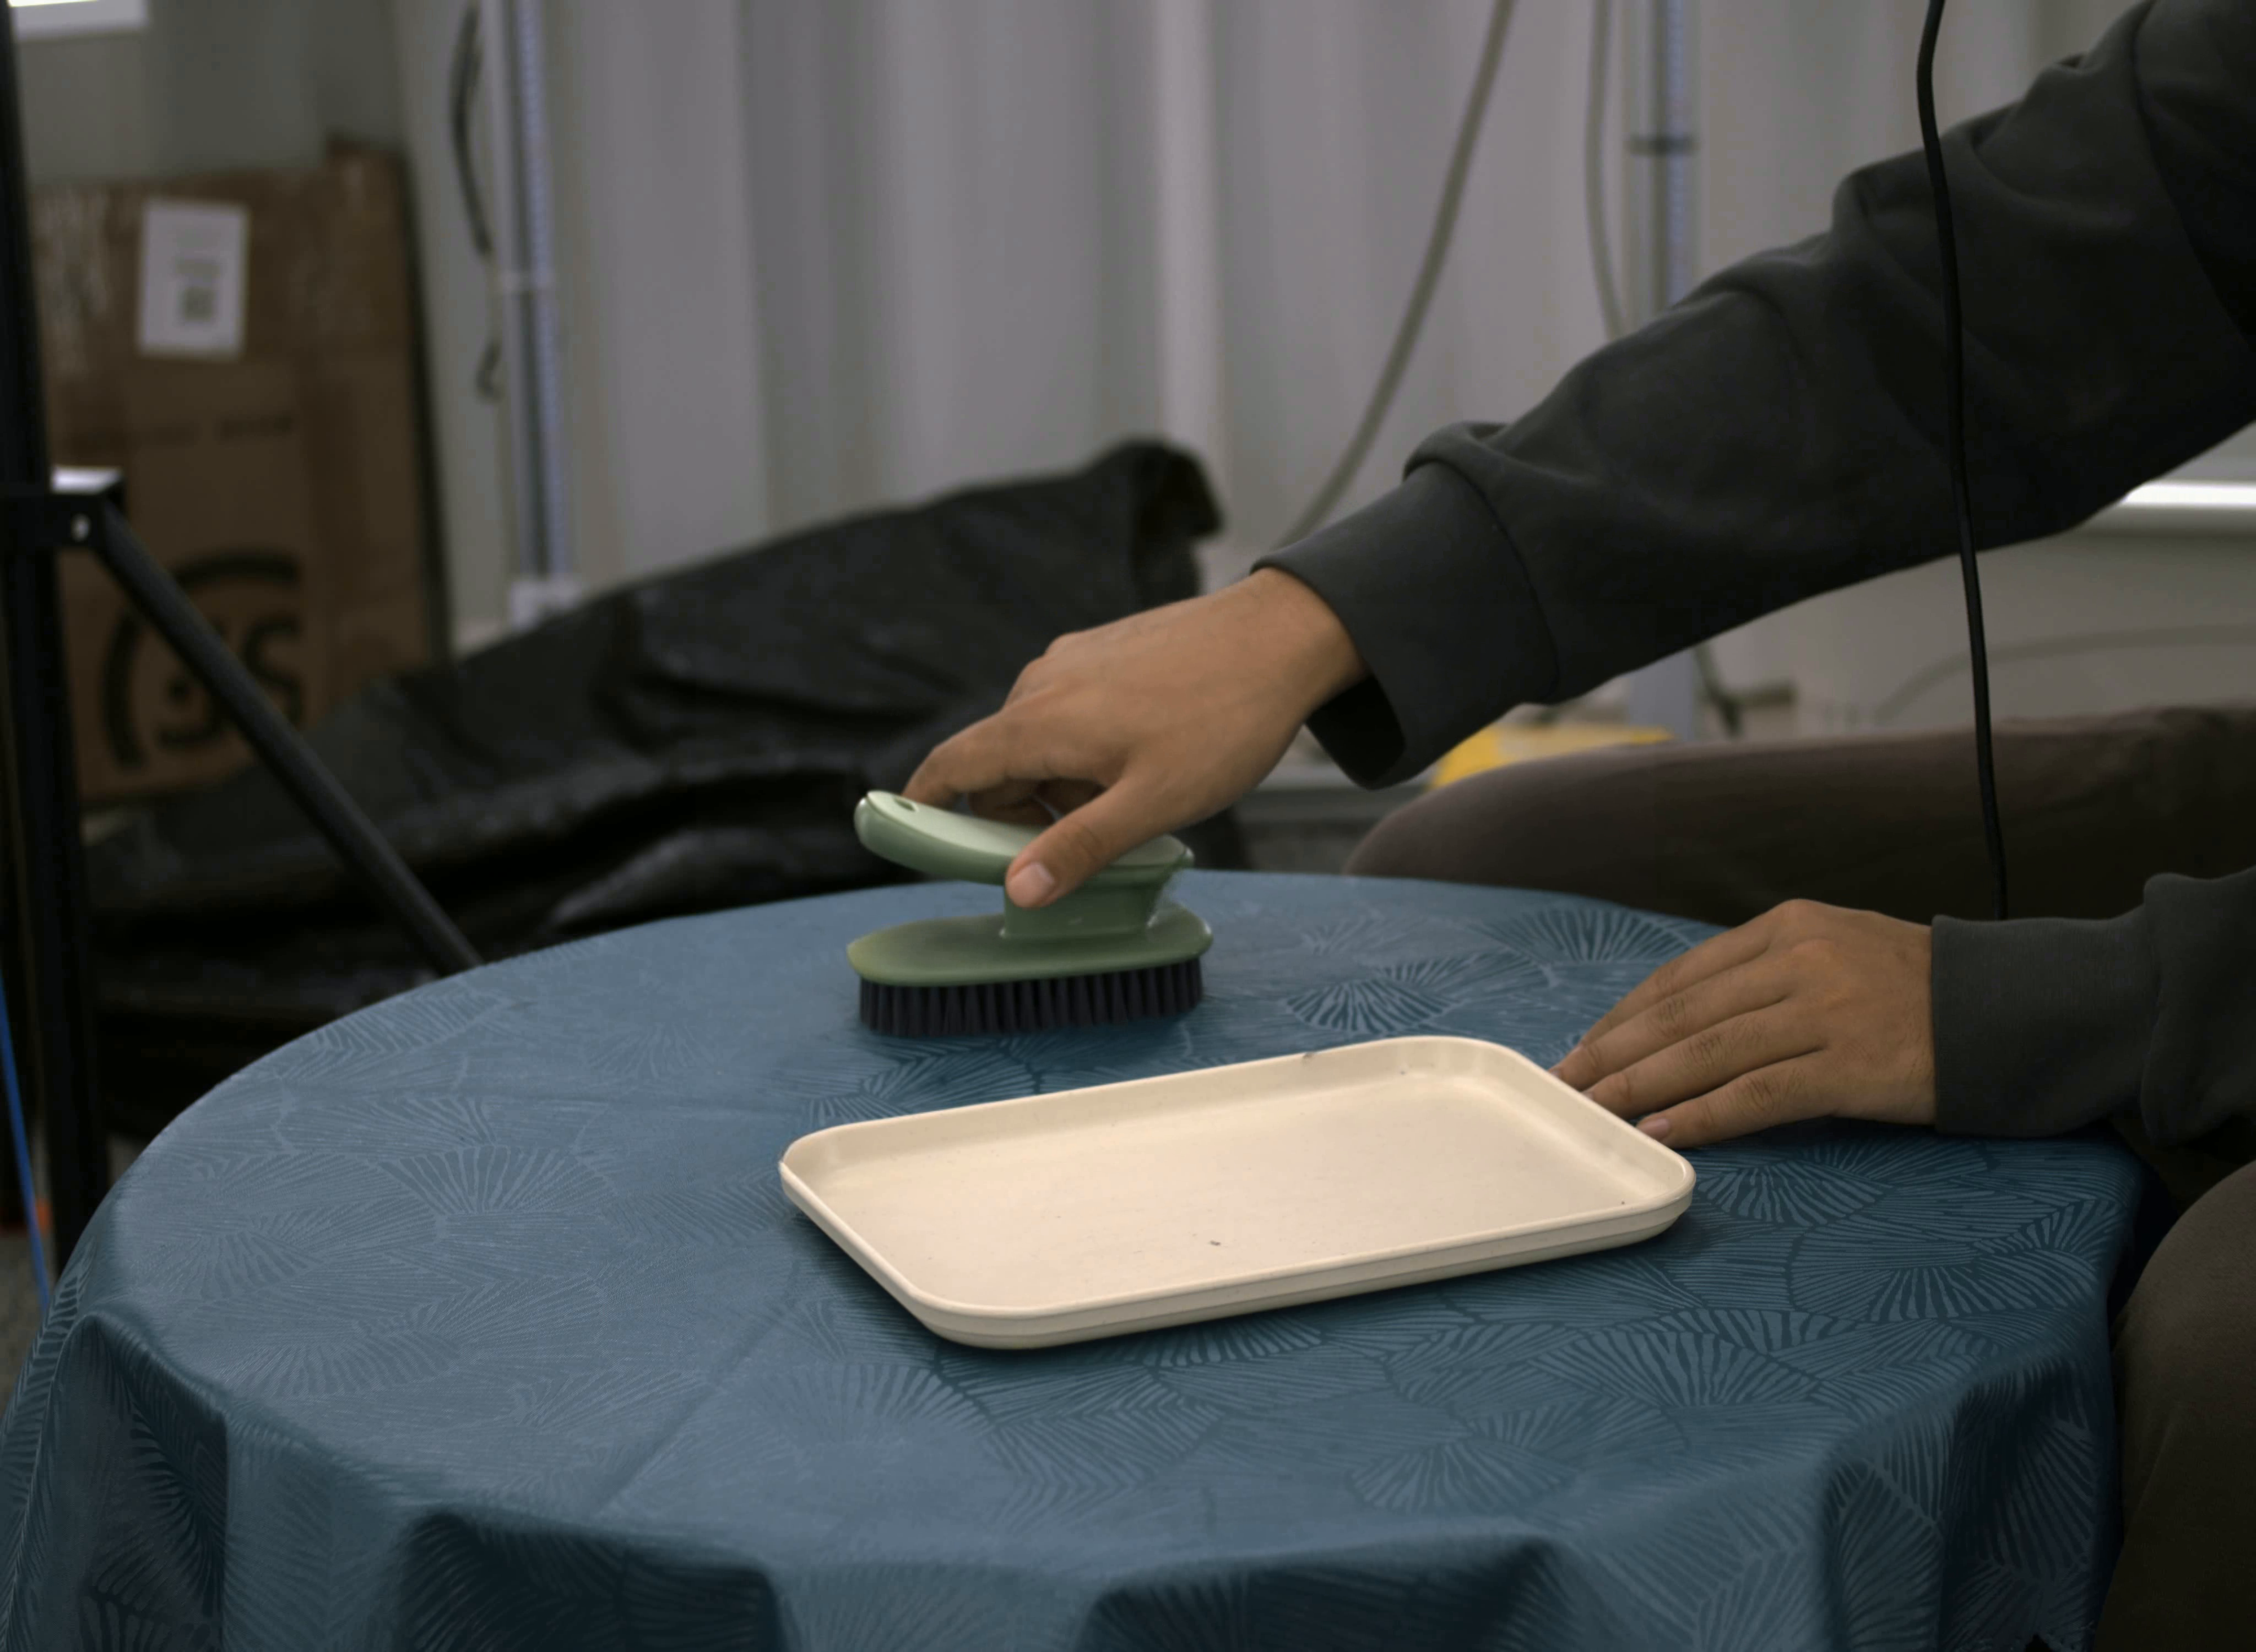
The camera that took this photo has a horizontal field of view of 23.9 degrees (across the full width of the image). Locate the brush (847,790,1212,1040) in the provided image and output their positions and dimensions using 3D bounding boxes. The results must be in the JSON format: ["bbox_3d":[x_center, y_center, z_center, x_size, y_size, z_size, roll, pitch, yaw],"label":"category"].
[{"bbox_3d":[-0.034,0.034,1.726,0.121,0.076,0.060,9,14,-13],"label":"brush"}]

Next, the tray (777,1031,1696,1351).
[{"bbox_3d":[0.030,0.105,1.531,0.235,0.017,0.174,-8,17,-19],"label":"tray"}]
